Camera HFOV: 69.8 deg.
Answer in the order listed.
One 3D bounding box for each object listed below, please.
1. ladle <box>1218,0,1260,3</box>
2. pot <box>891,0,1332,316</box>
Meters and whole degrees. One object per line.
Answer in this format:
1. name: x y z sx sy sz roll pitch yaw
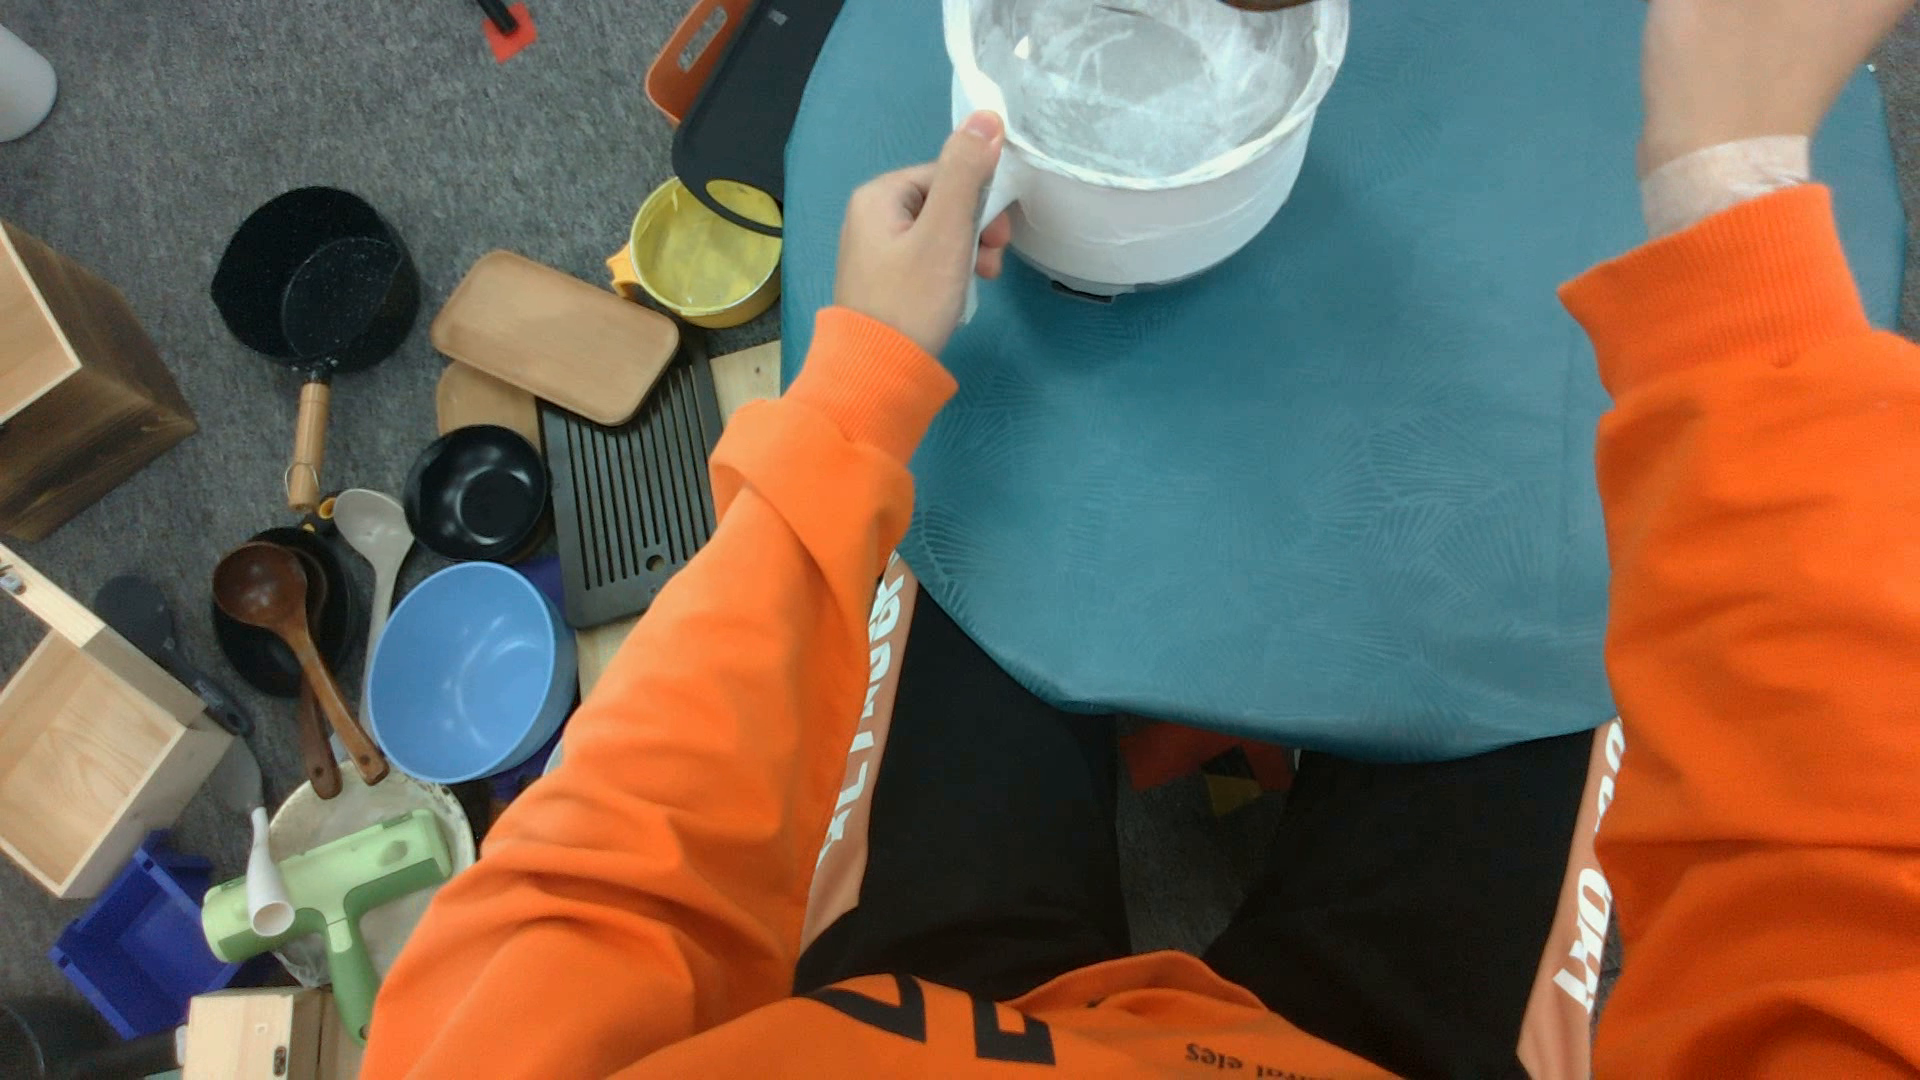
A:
1. ladle: 0.185 -0.239 0.466 0.273 0.071 0.076 8 83 47
2. pot: 0.058 -0.208 0.661 0.179 0.136 0.234 43 81 11
